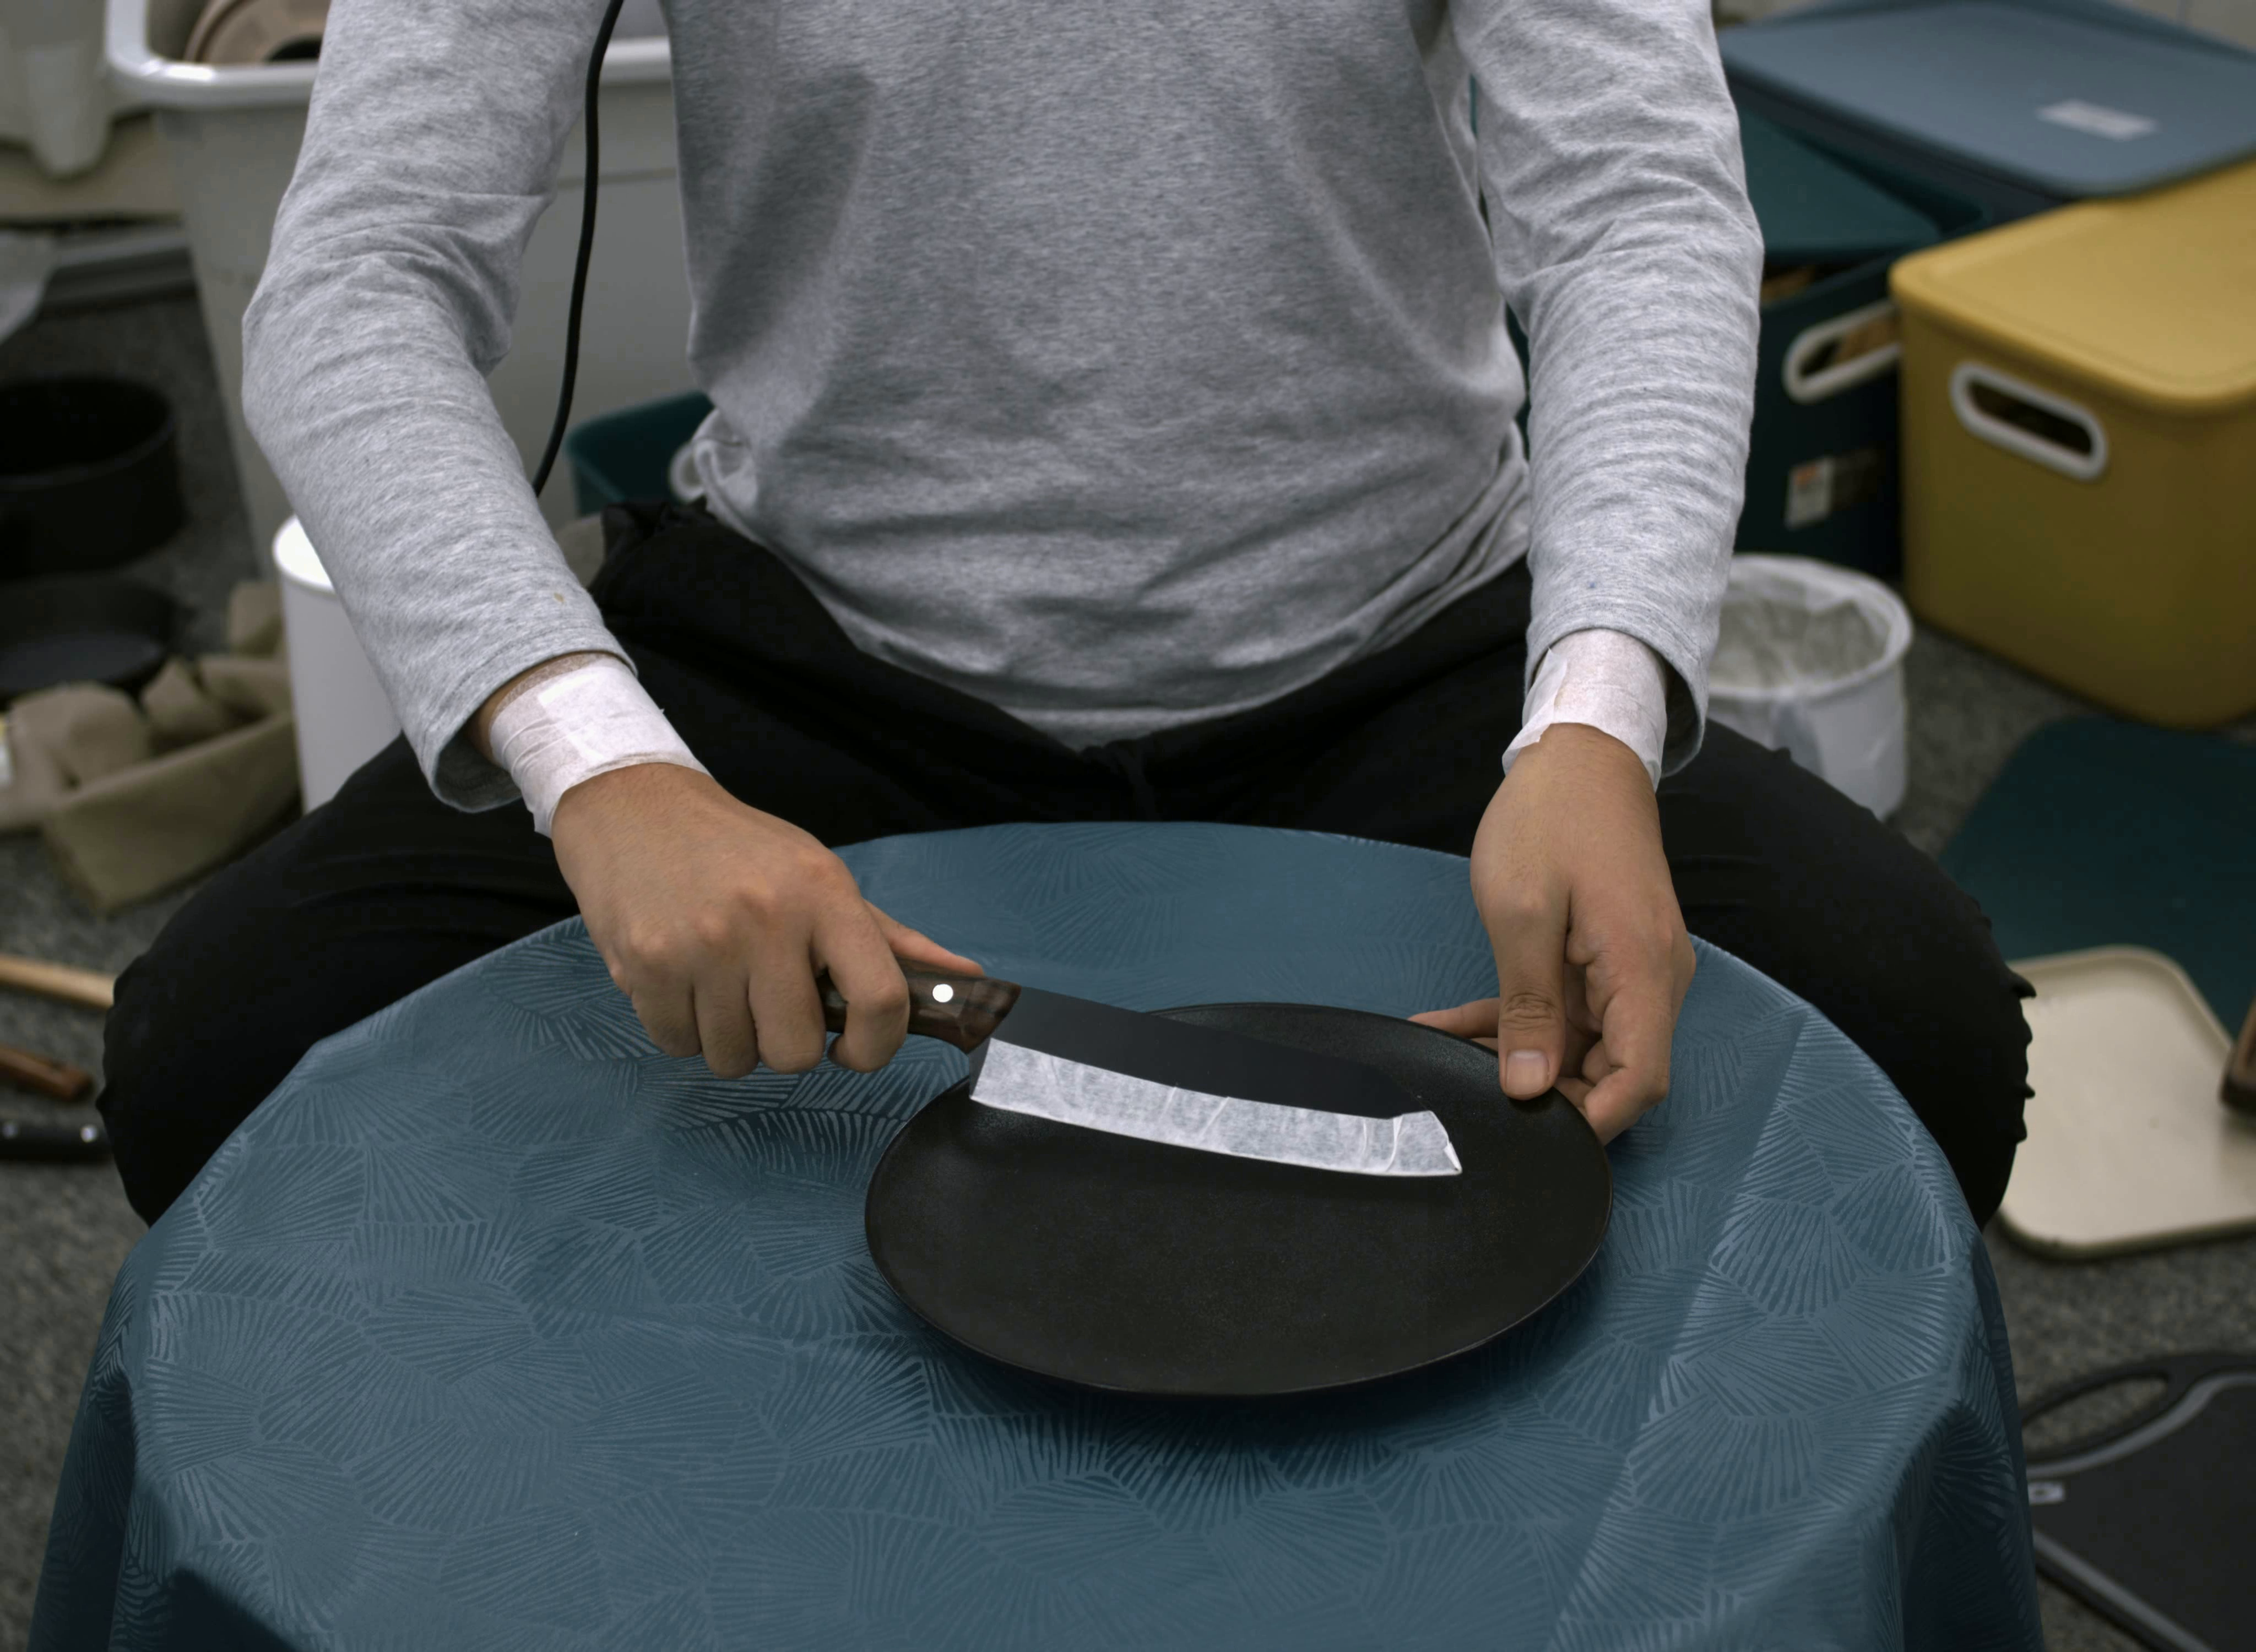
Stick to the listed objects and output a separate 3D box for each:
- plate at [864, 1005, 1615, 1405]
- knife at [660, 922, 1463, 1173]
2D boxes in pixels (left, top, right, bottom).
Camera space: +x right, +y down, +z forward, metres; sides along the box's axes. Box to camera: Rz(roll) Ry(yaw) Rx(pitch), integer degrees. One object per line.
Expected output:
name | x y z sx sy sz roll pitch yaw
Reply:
plate | 0.036 0.127 1.823 0.243 0.023 0.248 -2 27 2
knife | -0.025 0.074 1.869 0.287 0.020 0.051 14 68 15
